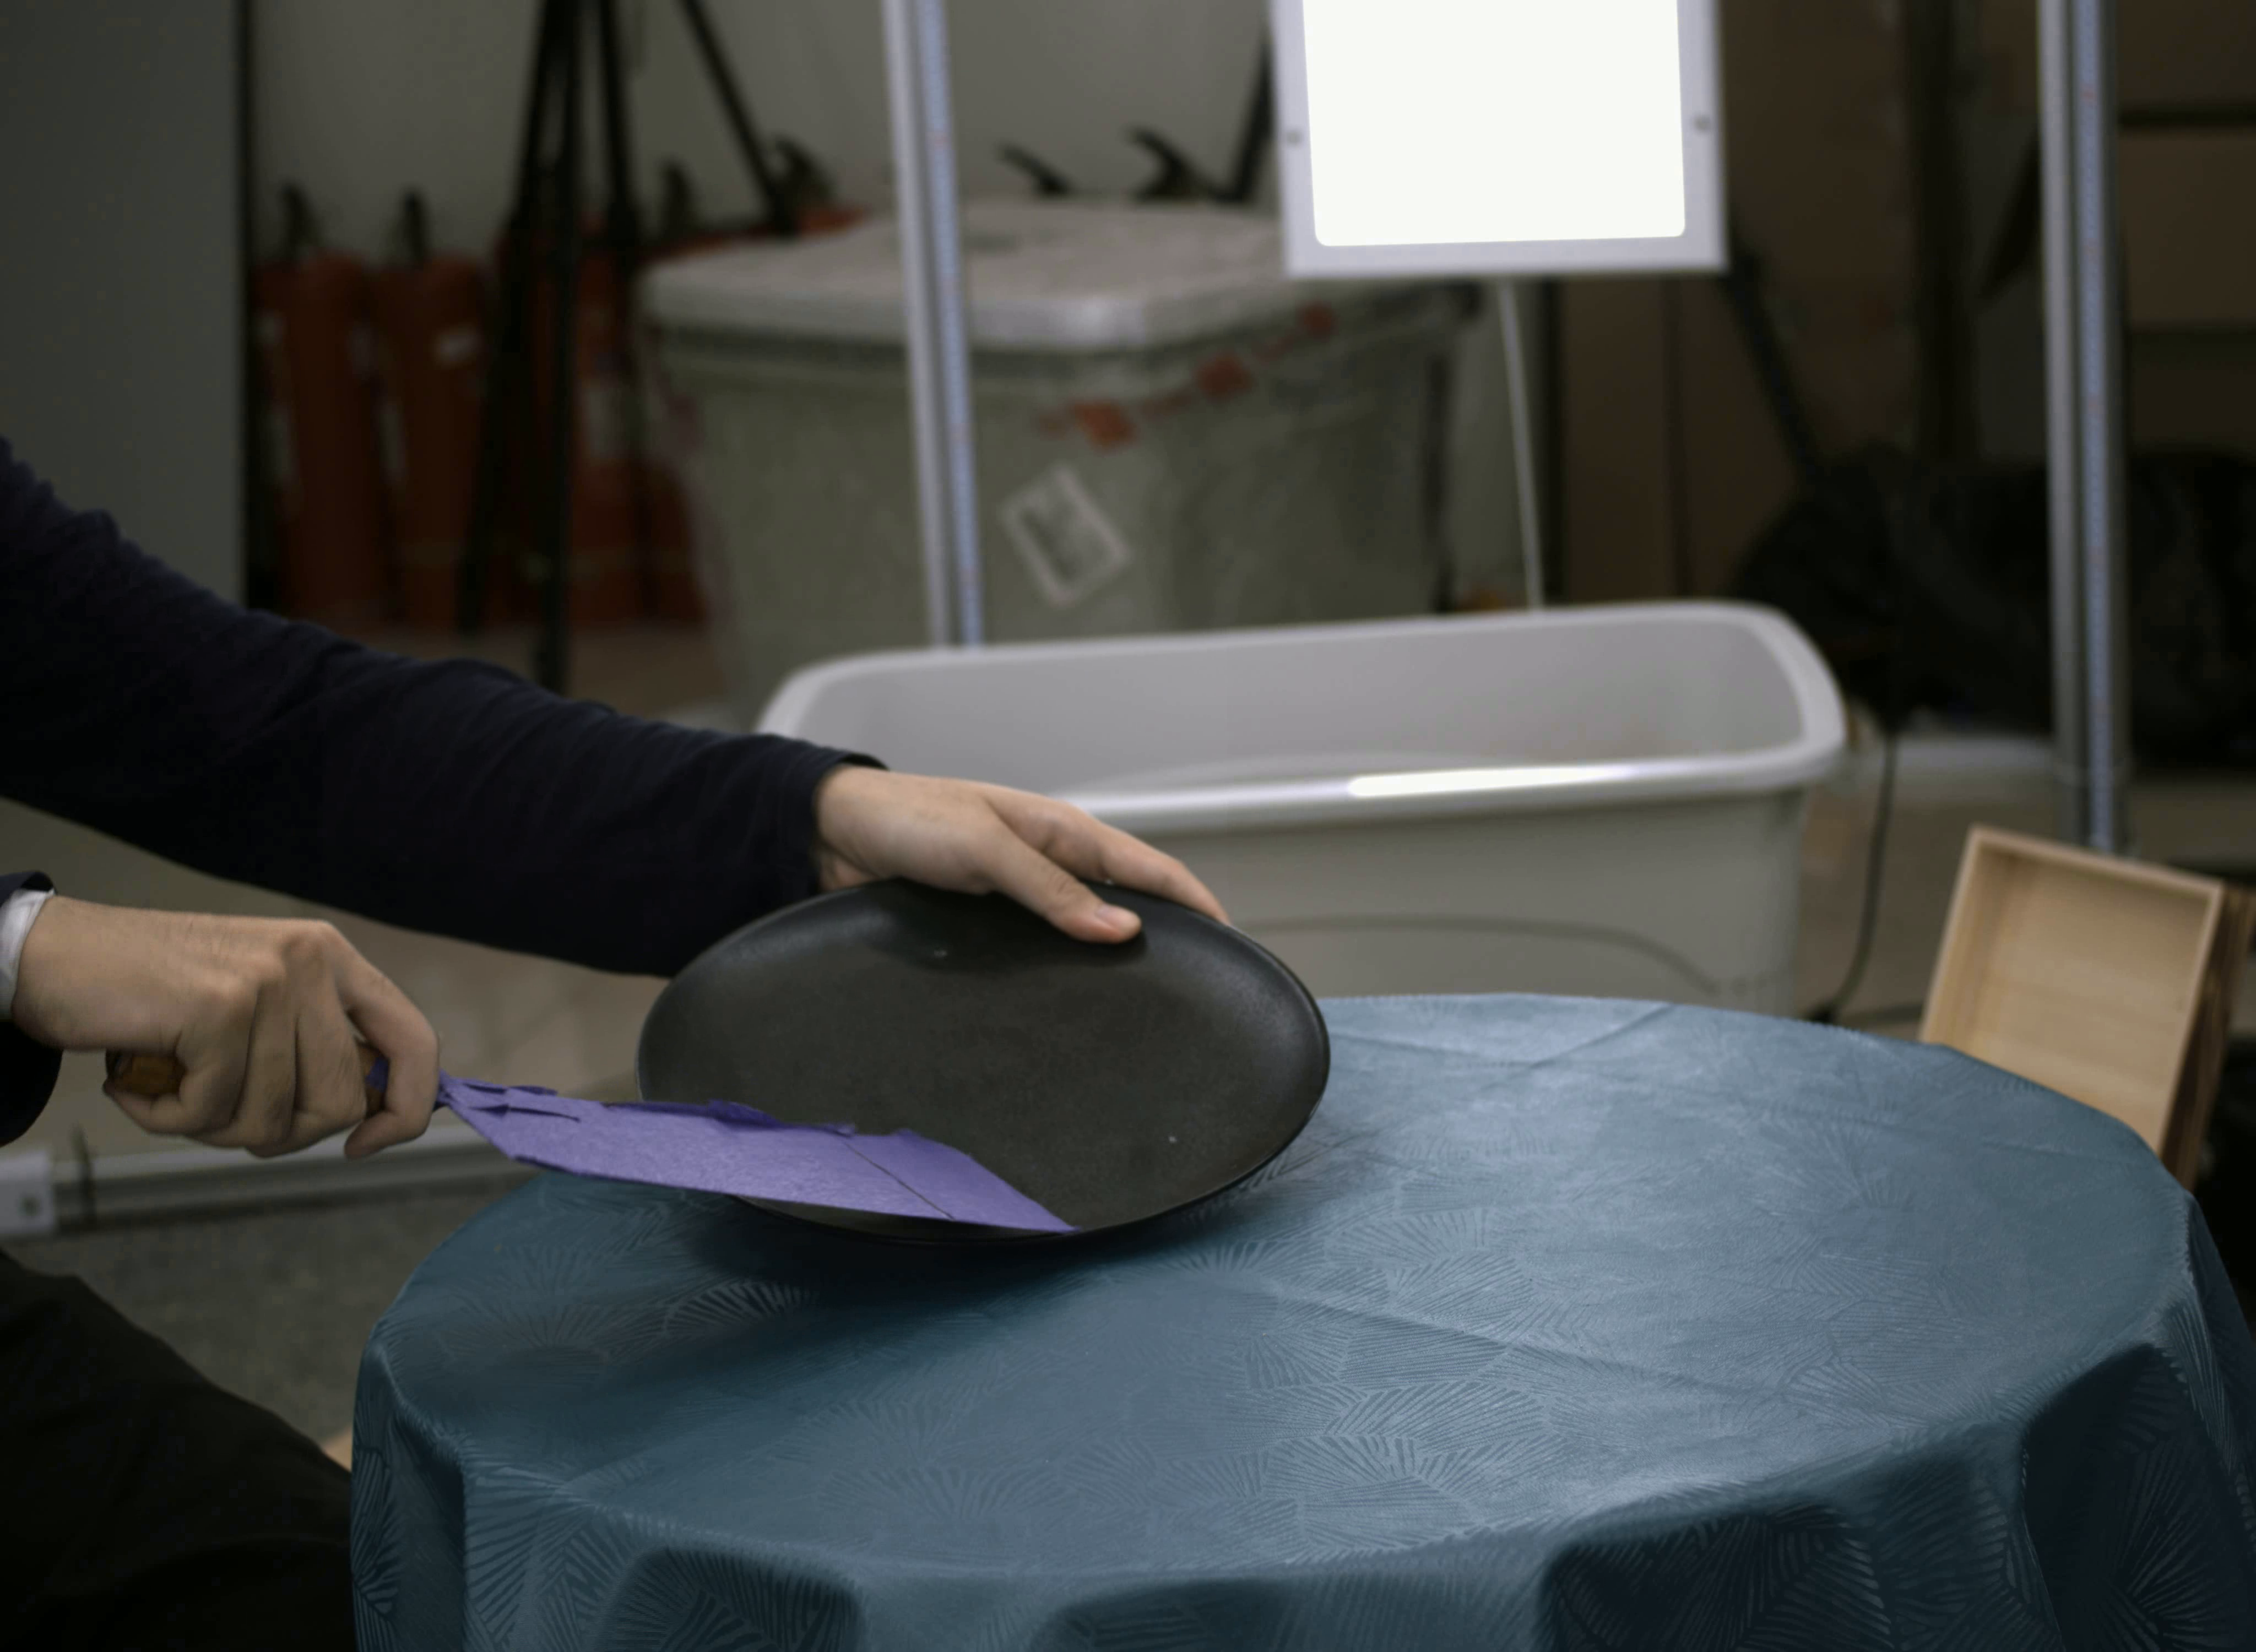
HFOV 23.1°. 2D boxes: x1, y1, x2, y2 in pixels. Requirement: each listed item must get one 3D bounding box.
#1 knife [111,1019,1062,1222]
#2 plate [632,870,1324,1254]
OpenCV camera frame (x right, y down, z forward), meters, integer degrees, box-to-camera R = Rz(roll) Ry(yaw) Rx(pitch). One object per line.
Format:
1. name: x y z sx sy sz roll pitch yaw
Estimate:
1. knife: -0.167 0.097 1.782 0.308 0.032 0.105 6 12 -30
2. plate: -0.052 0.086 1.932 0.244 0.023 0.244 -2 31 0
